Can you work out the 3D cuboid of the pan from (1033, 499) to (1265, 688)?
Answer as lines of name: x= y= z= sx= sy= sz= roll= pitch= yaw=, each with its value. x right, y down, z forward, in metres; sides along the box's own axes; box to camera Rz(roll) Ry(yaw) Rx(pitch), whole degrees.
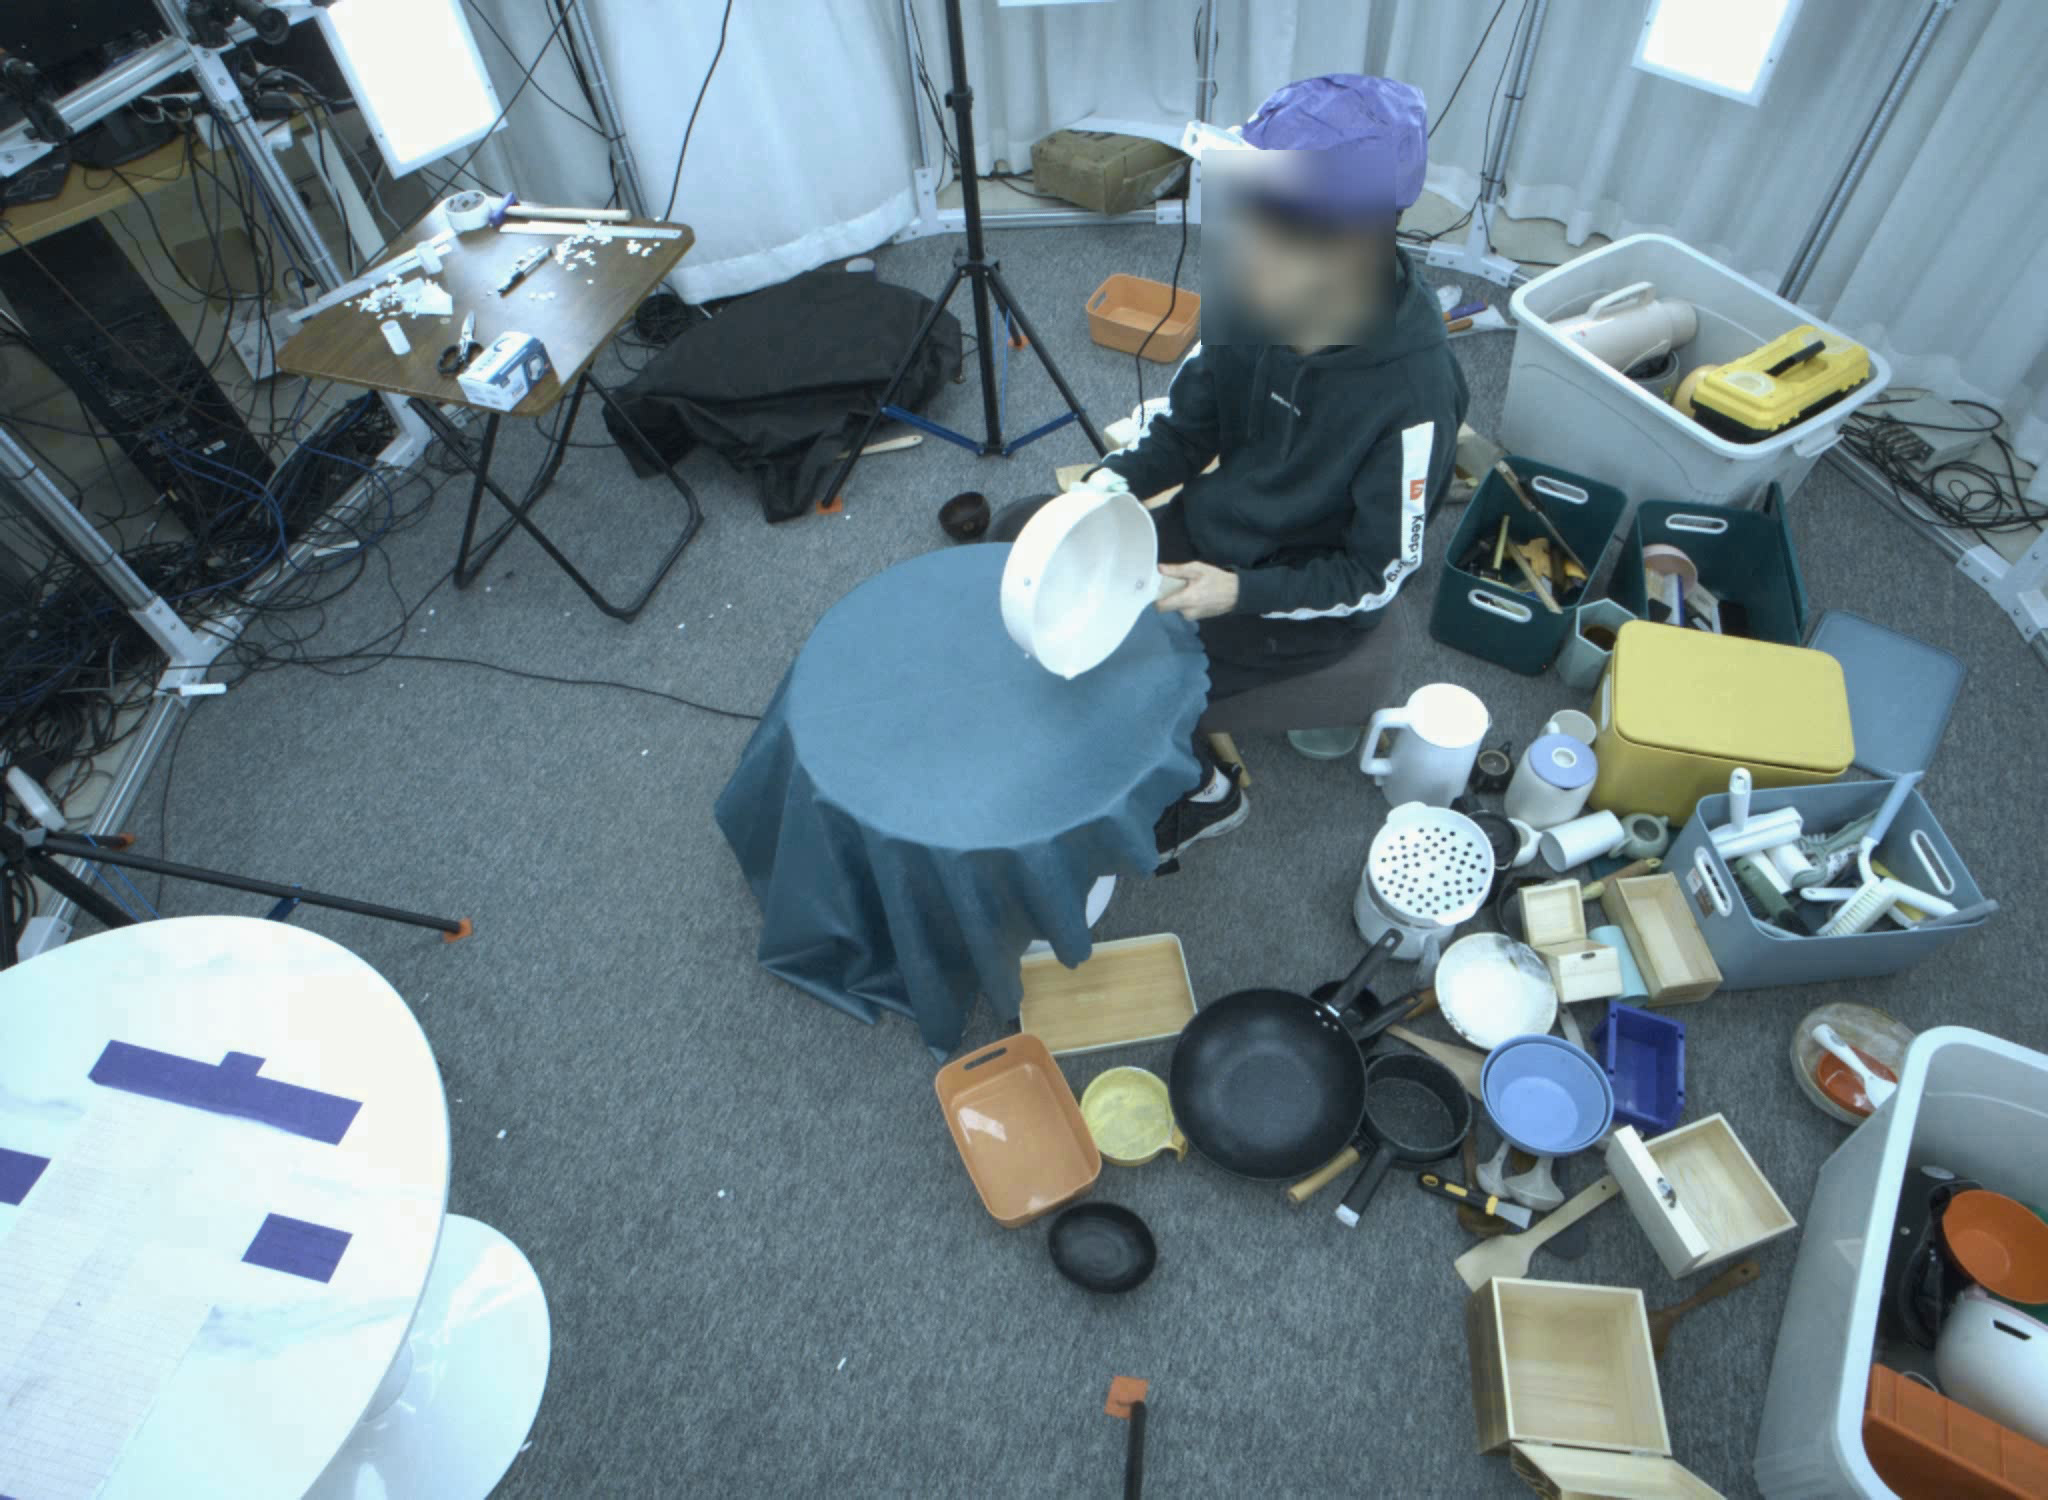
pan: x=0.178 y=-0.223 z=1.703 sx=0.100 sy=0.264 sz=0.443 roll=30 pitch=25 yaw=35

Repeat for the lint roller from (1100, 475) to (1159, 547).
lint roller: x=0.127 y=-0.324 z=1.778 sx=0.083 sy=0.198 sz=0.182 roll=21 pitch=31 yaw=-7
